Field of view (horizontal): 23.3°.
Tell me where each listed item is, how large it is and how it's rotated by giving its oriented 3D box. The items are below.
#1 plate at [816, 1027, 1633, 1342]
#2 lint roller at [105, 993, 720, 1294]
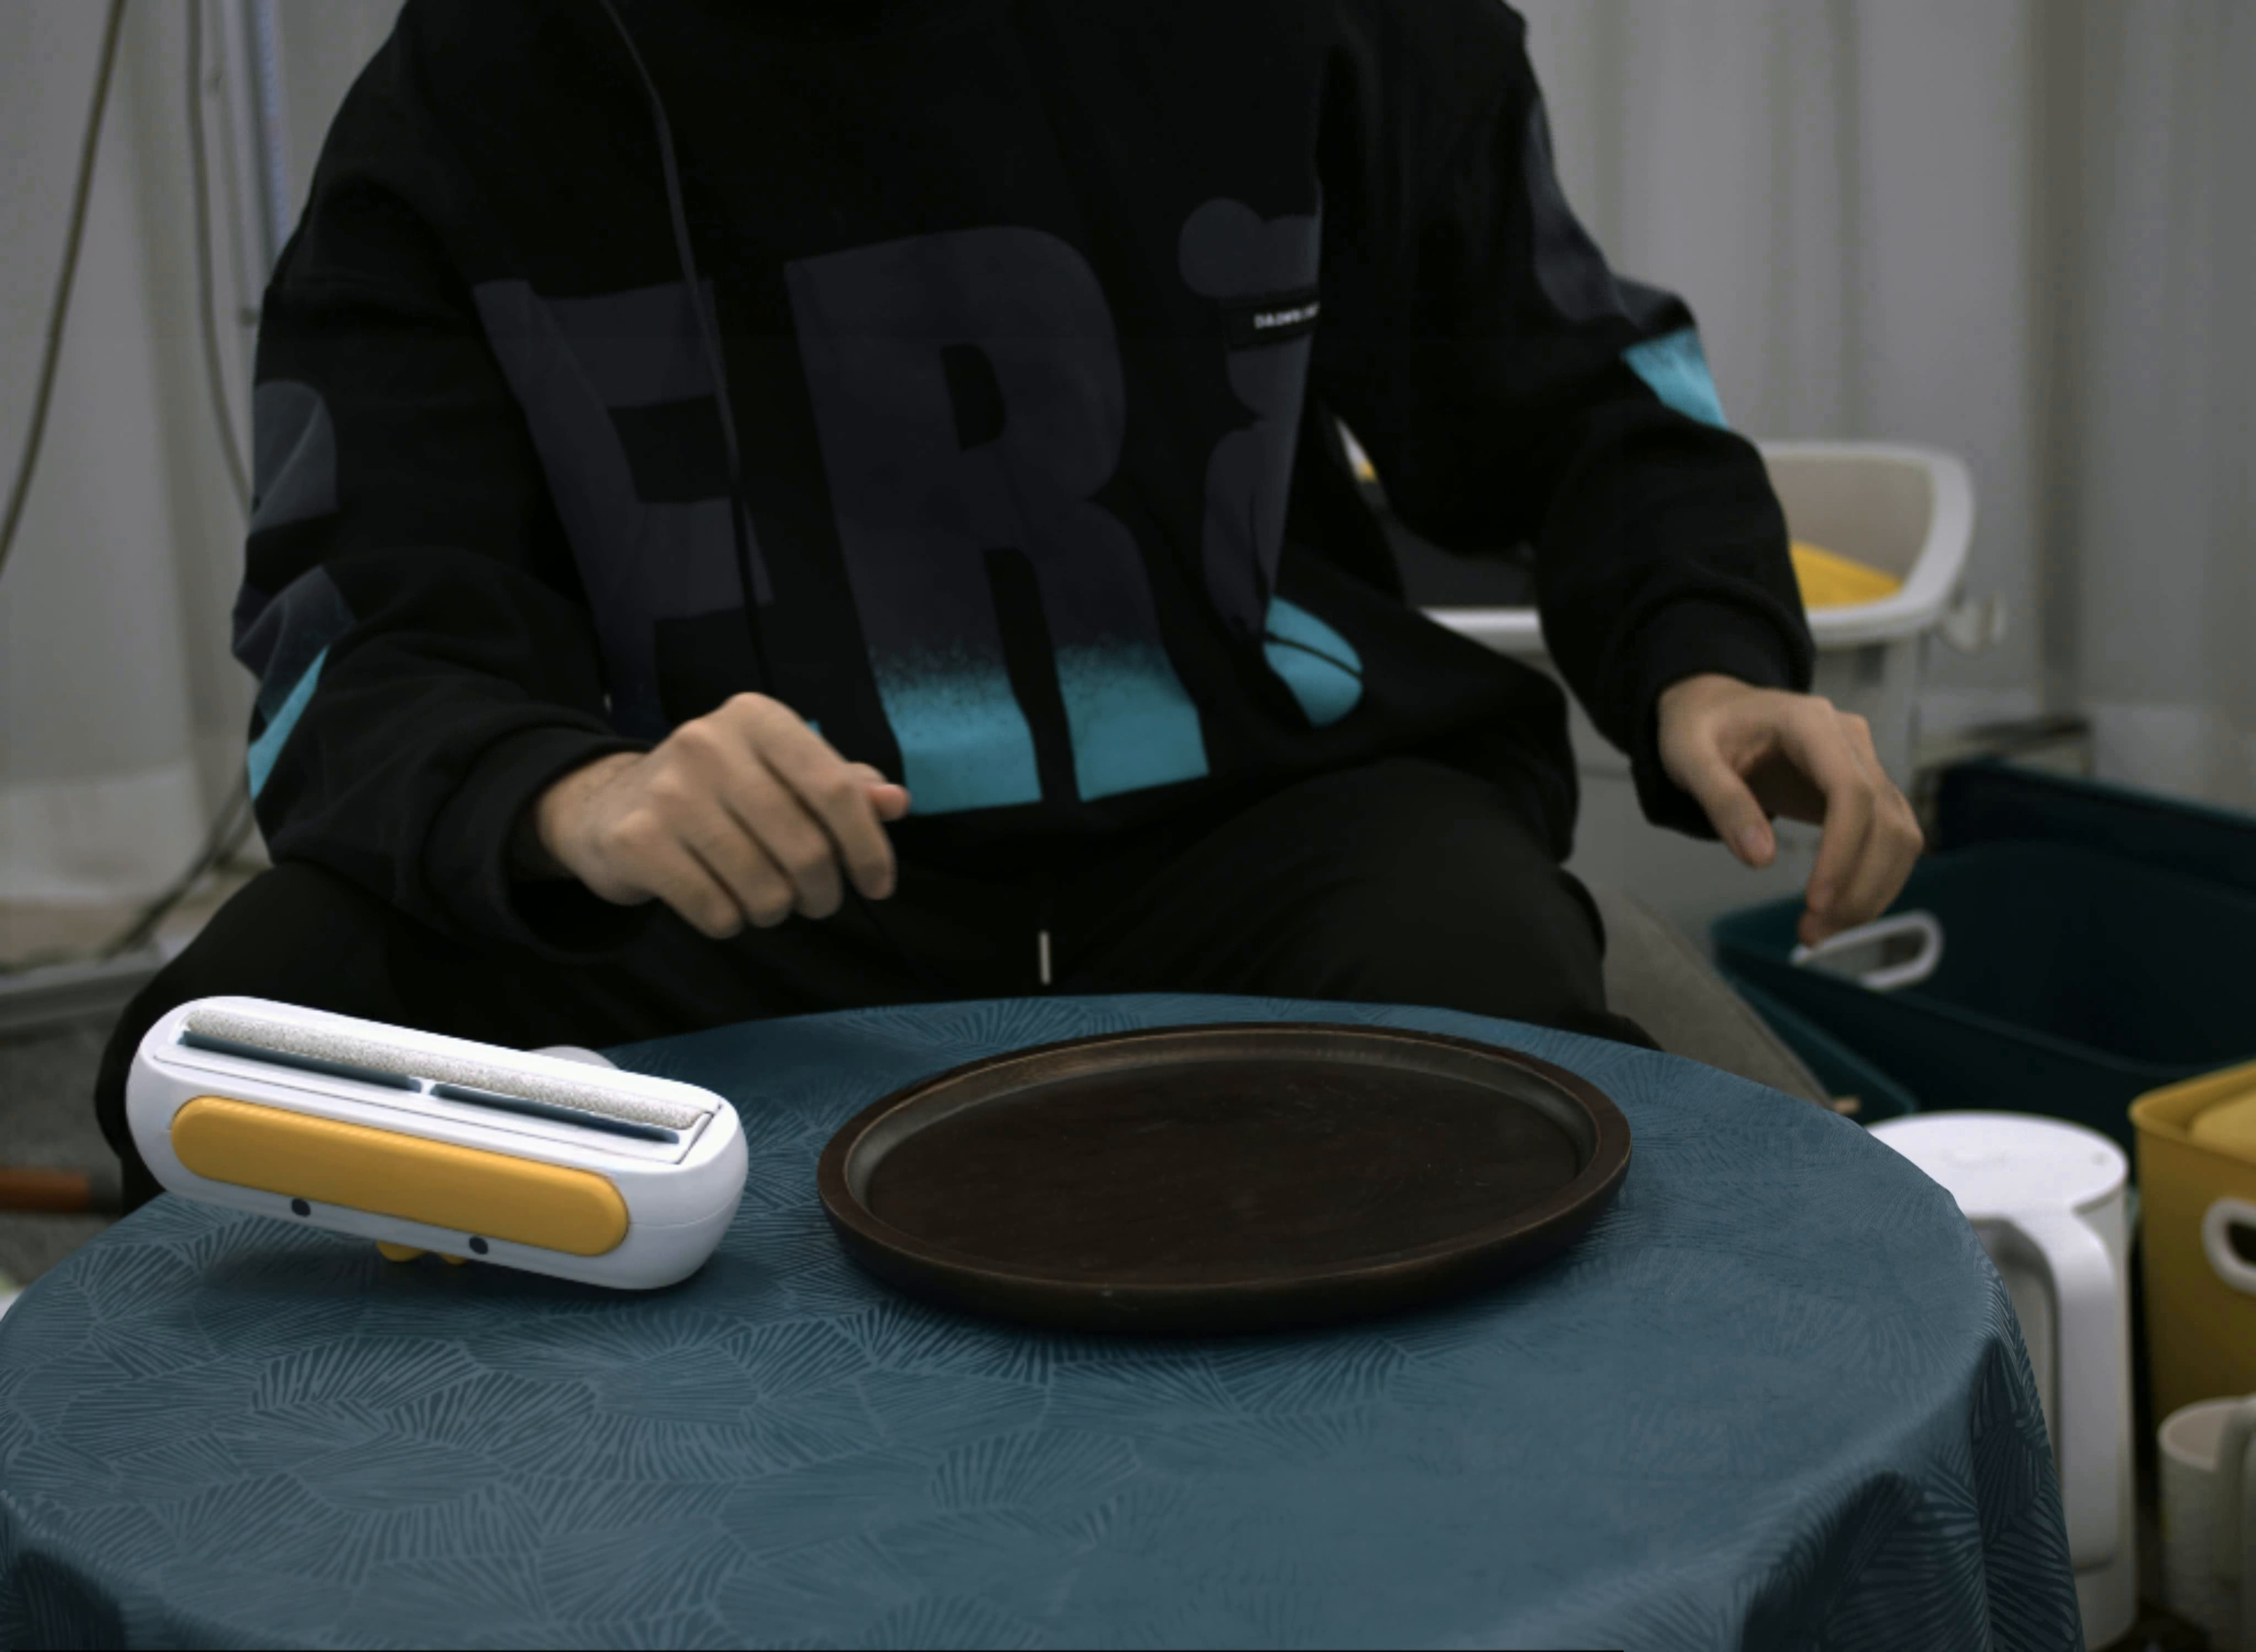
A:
[{"bbox_3d":[0.030,0.109,1.688,0.254,0.029,0.256,-3,14,0],"label":"plate"},{"bbox_3d":[-0.201,0.089,1.723,0.193,0.074,0.193,7,15,16],"label":"lint roller"}]
